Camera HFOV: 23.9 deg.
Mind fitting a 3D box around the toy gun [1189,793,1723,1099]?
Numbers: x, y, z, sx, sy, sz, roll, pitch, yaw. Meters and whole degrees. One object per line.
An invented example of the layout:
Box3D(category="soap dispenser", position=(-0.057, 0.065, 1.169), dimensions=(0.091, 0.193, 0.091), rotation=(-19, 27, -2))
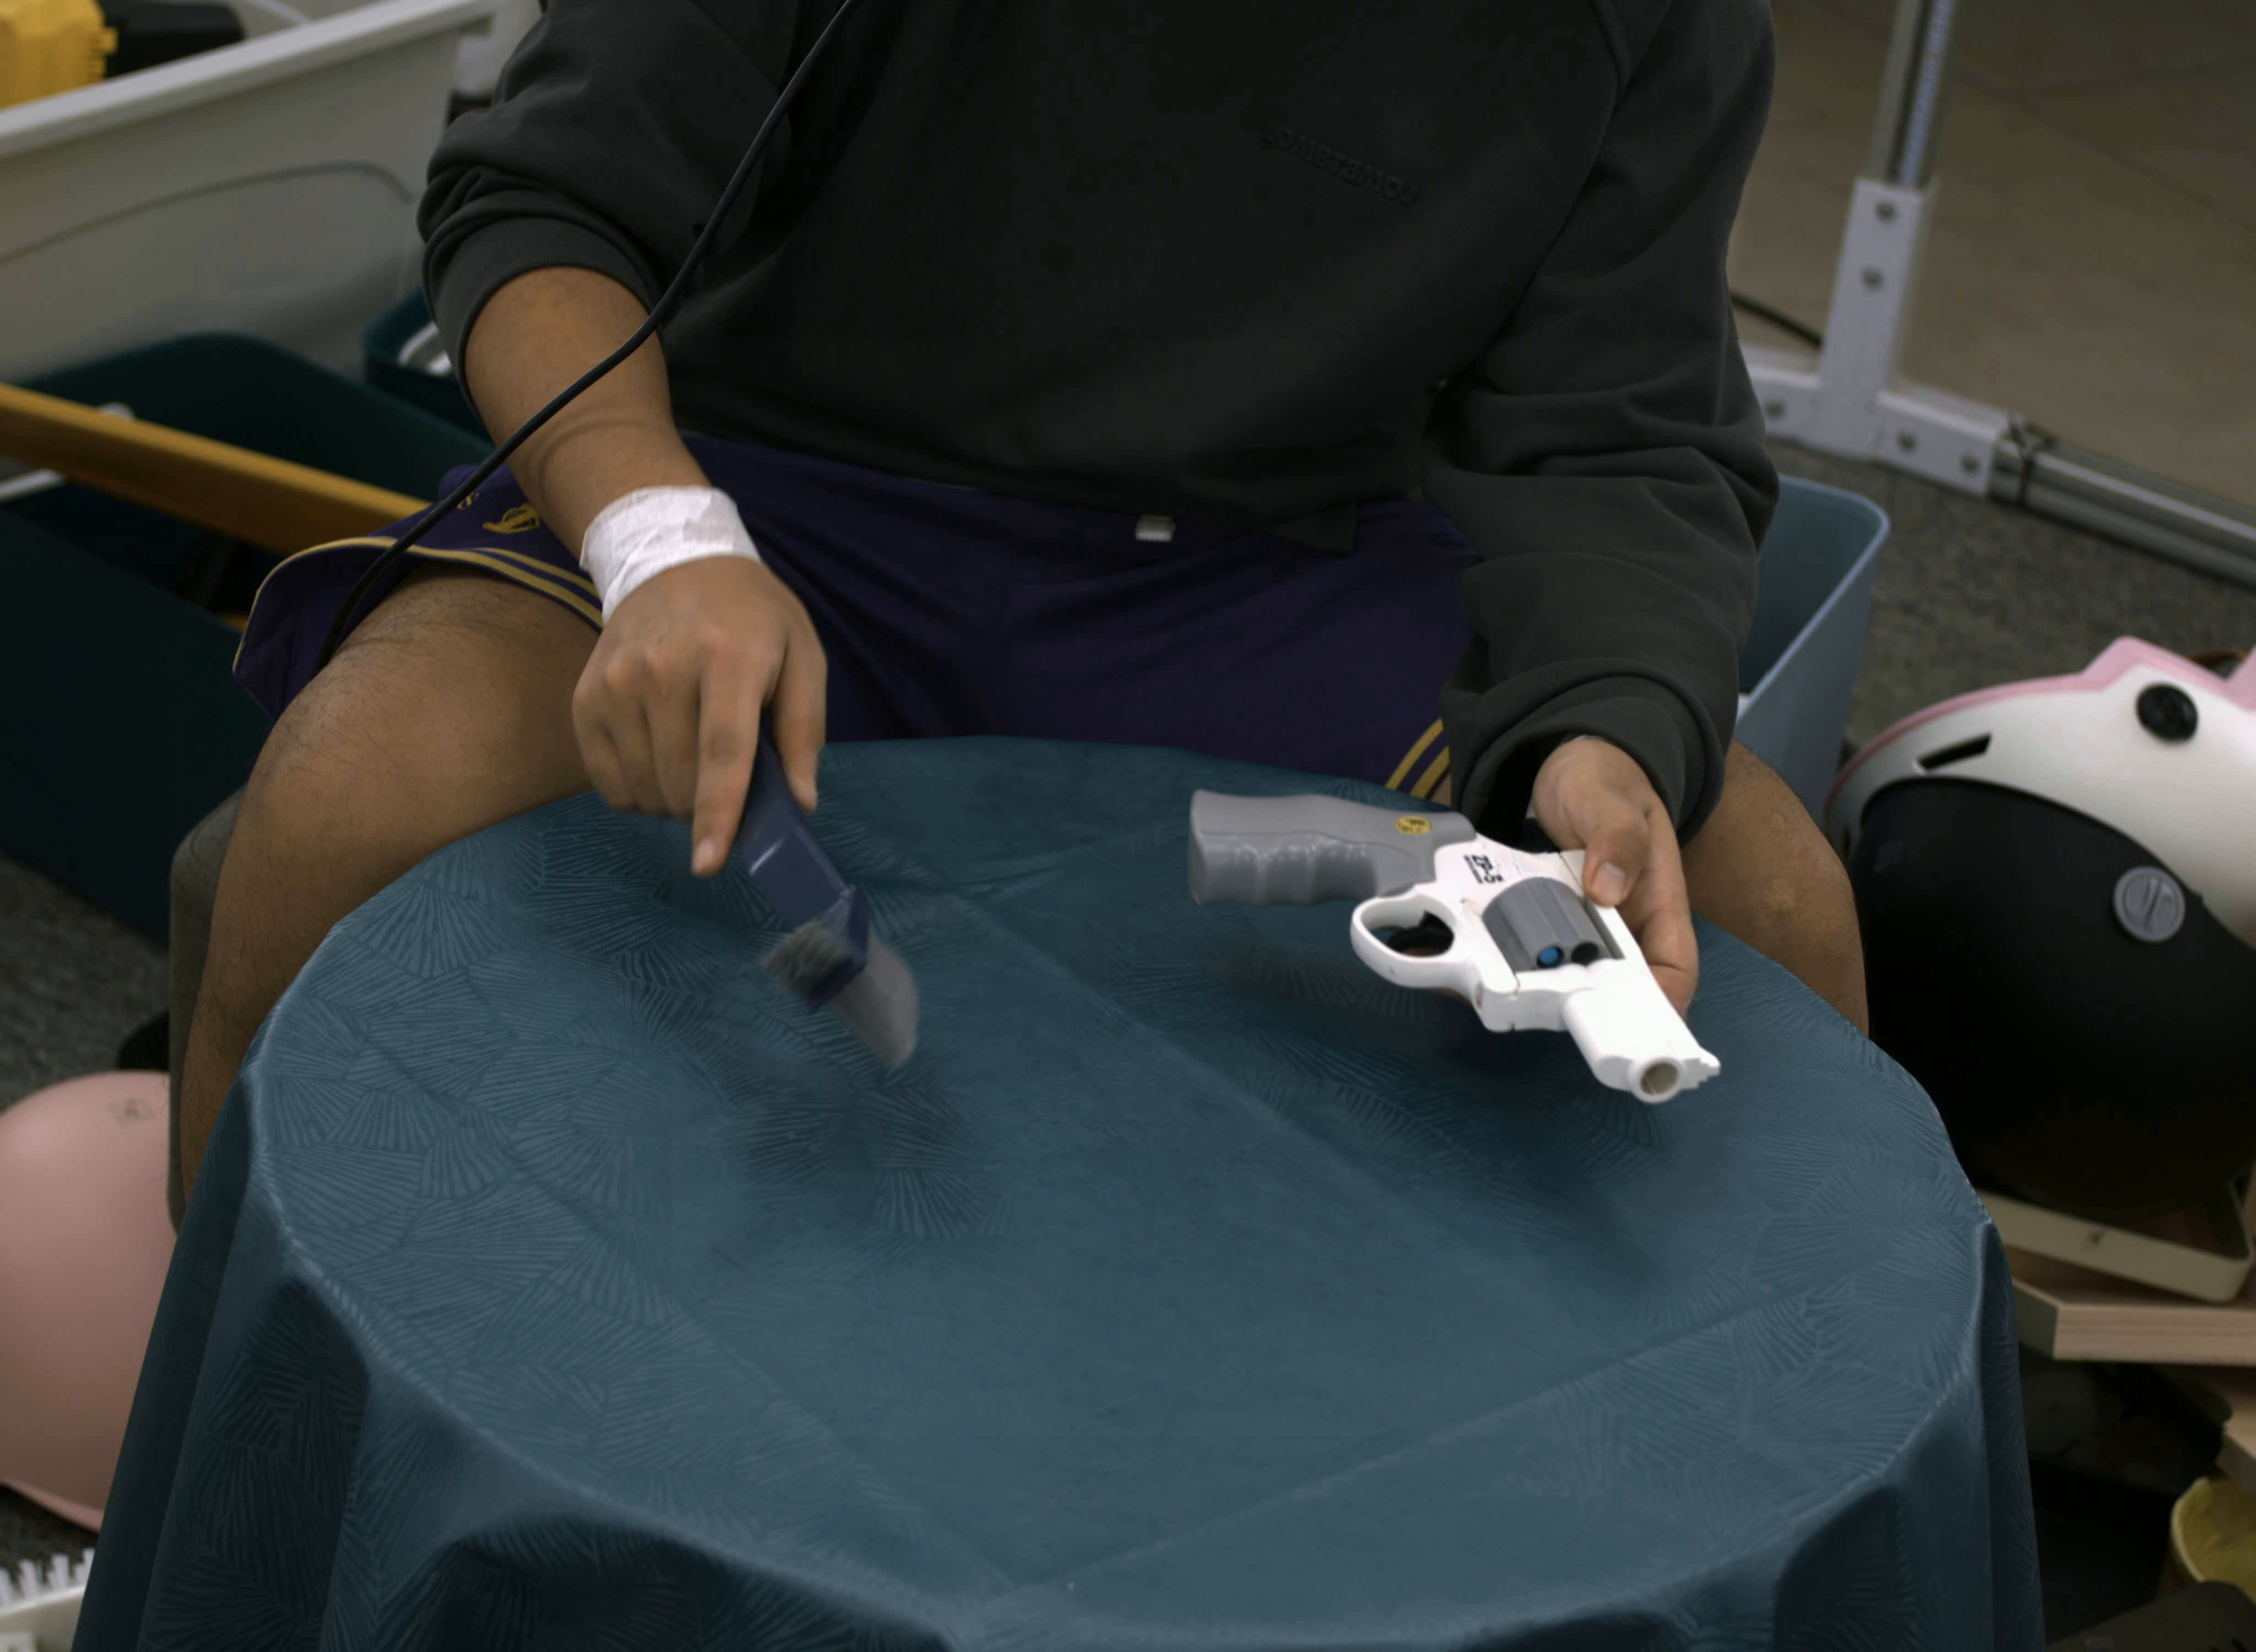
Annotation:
Box3D(category="toy gun", position=(0.109, 0.039, 1.861), dimensions=(0.141, 0.038, 0.211), rotation=(-7, 30, -13))

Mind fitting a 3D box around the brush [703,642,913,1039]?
Box3D(category="brush", position=(-0.127, -0.007, 1.867), dimensions=(0.095, 0.033, 0.275), rotation=(38, 11, -33))
